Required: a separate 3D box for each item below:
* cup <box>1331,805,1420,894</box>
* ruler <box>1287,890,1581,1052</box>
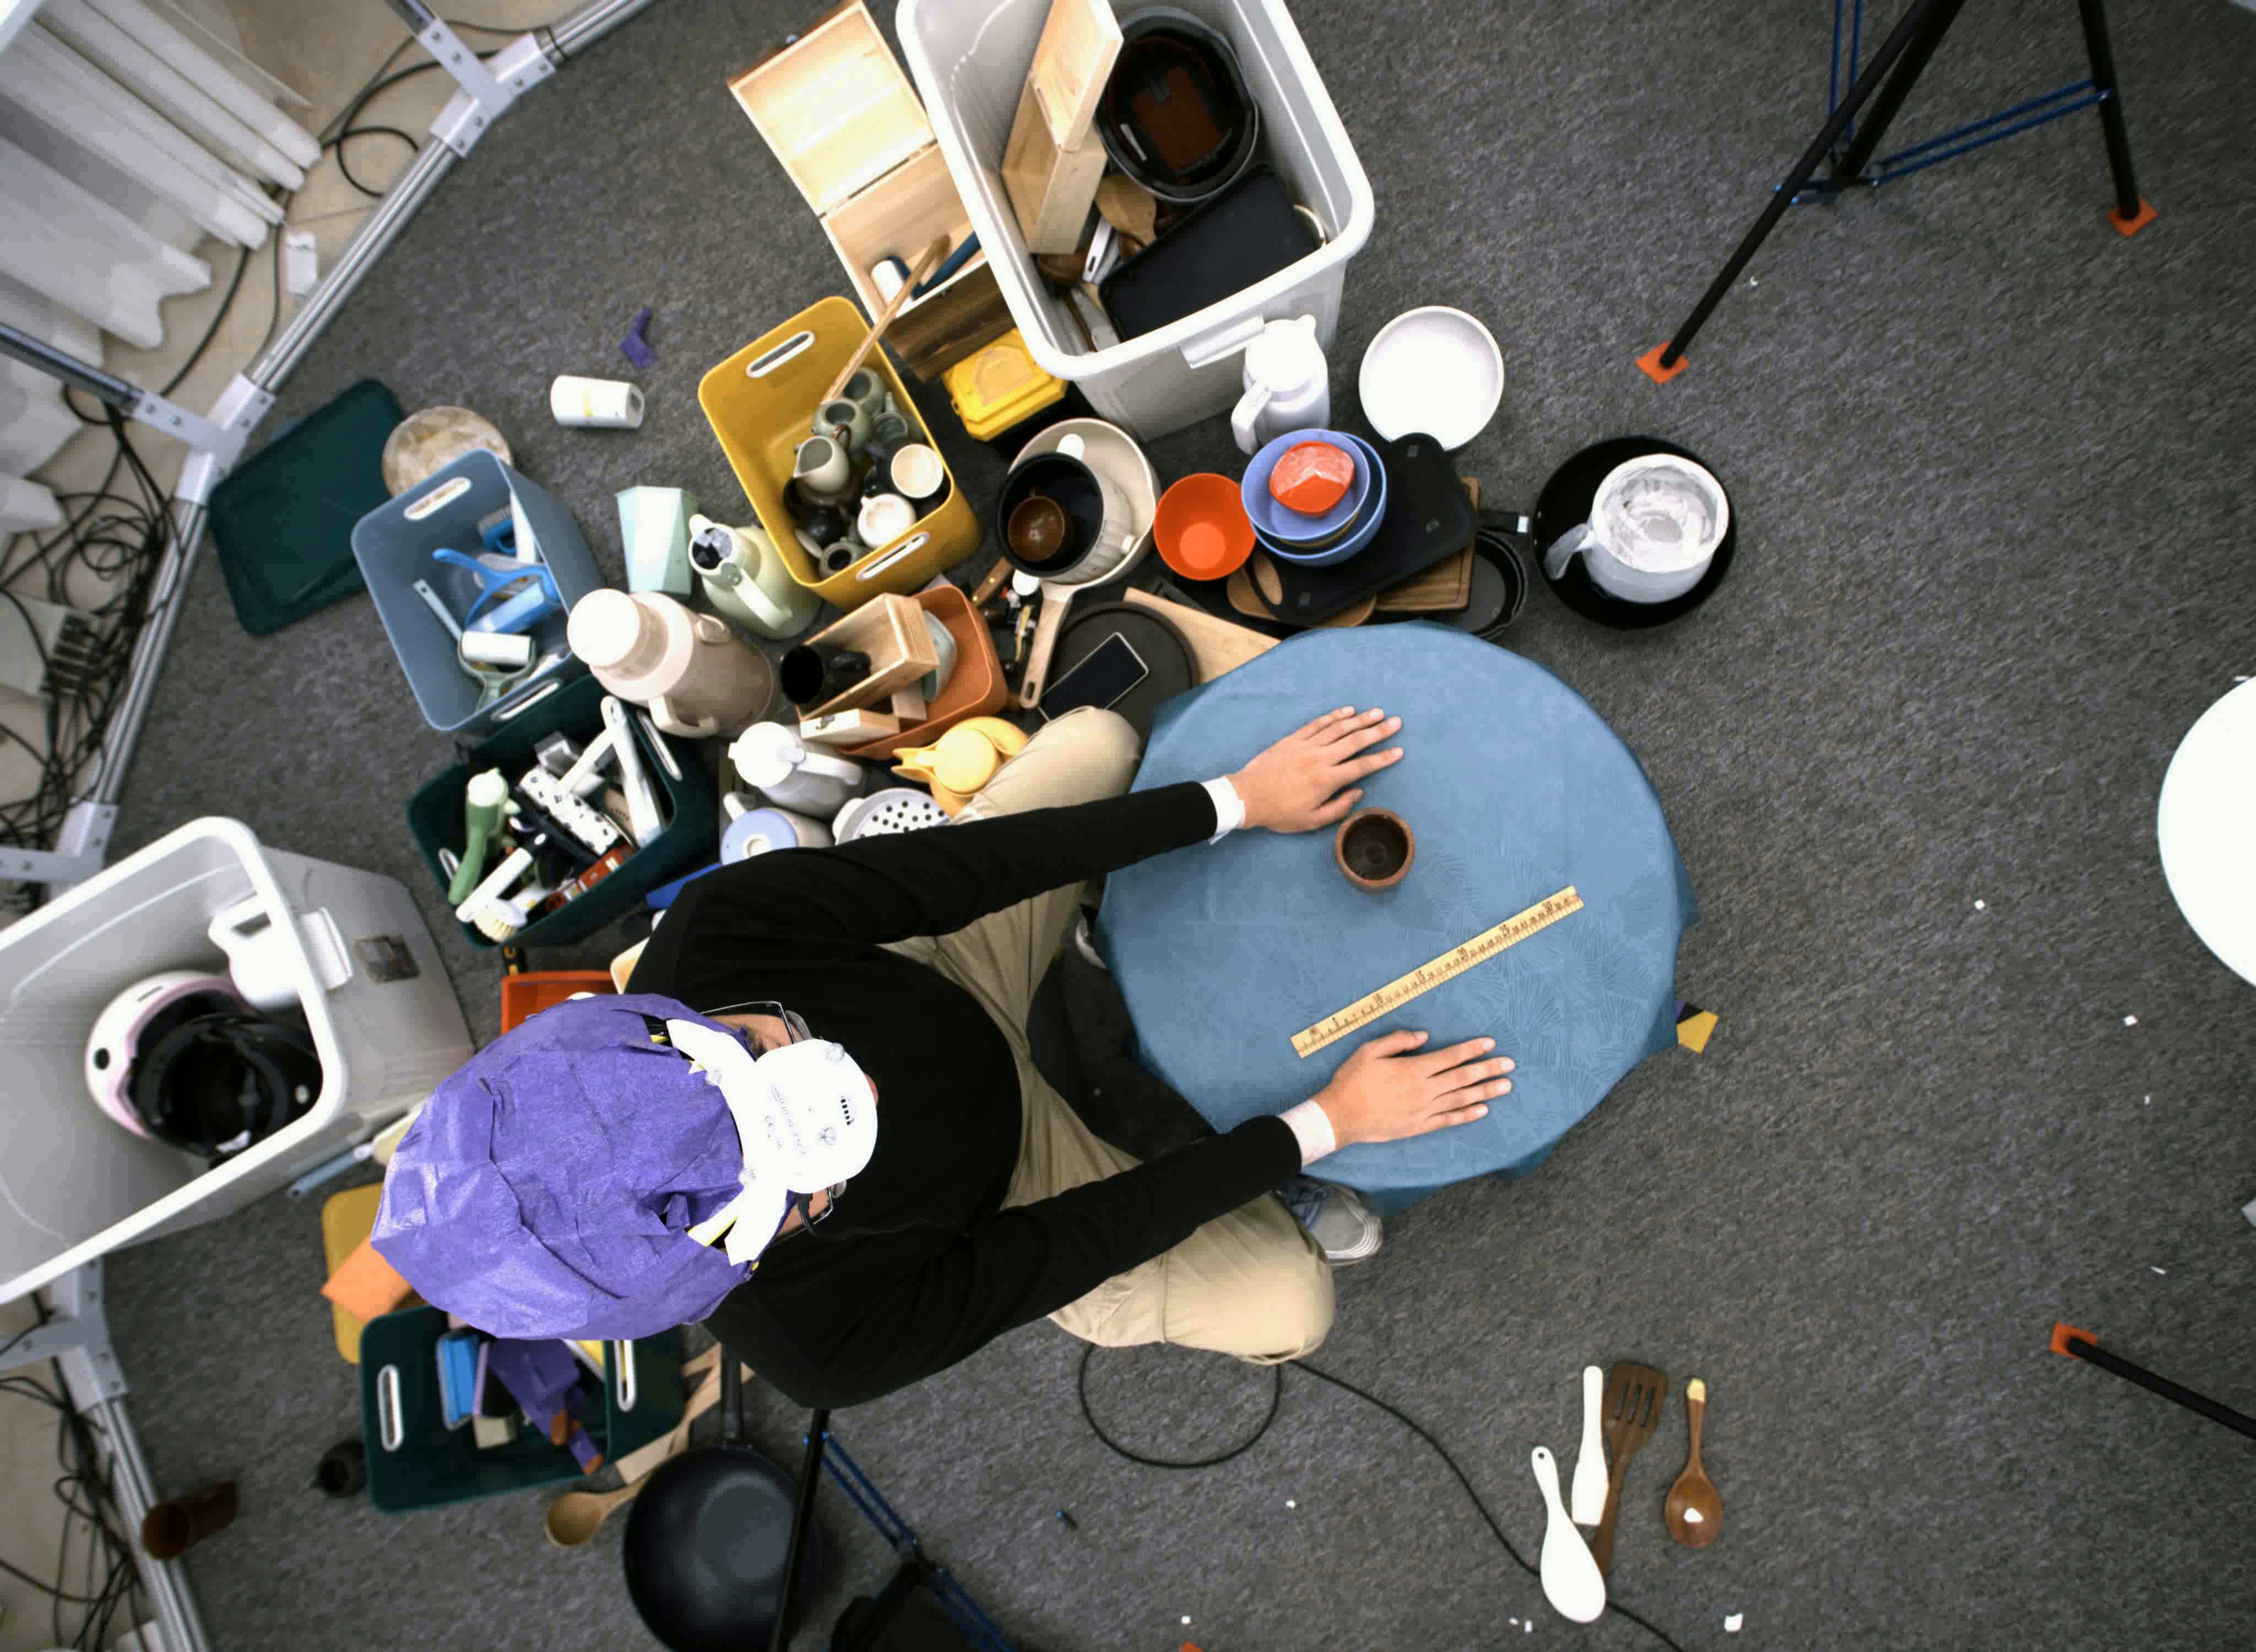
[{"bbox_3d":[0.253,0.025,1.407,0.088,0.118,0.087,-1,84,11],"label":"cup"},{"bbox_3d":[0.319,0.151,1.441,0.334,0.022,0.027,-28,77,7],"label":"ruler"}]
